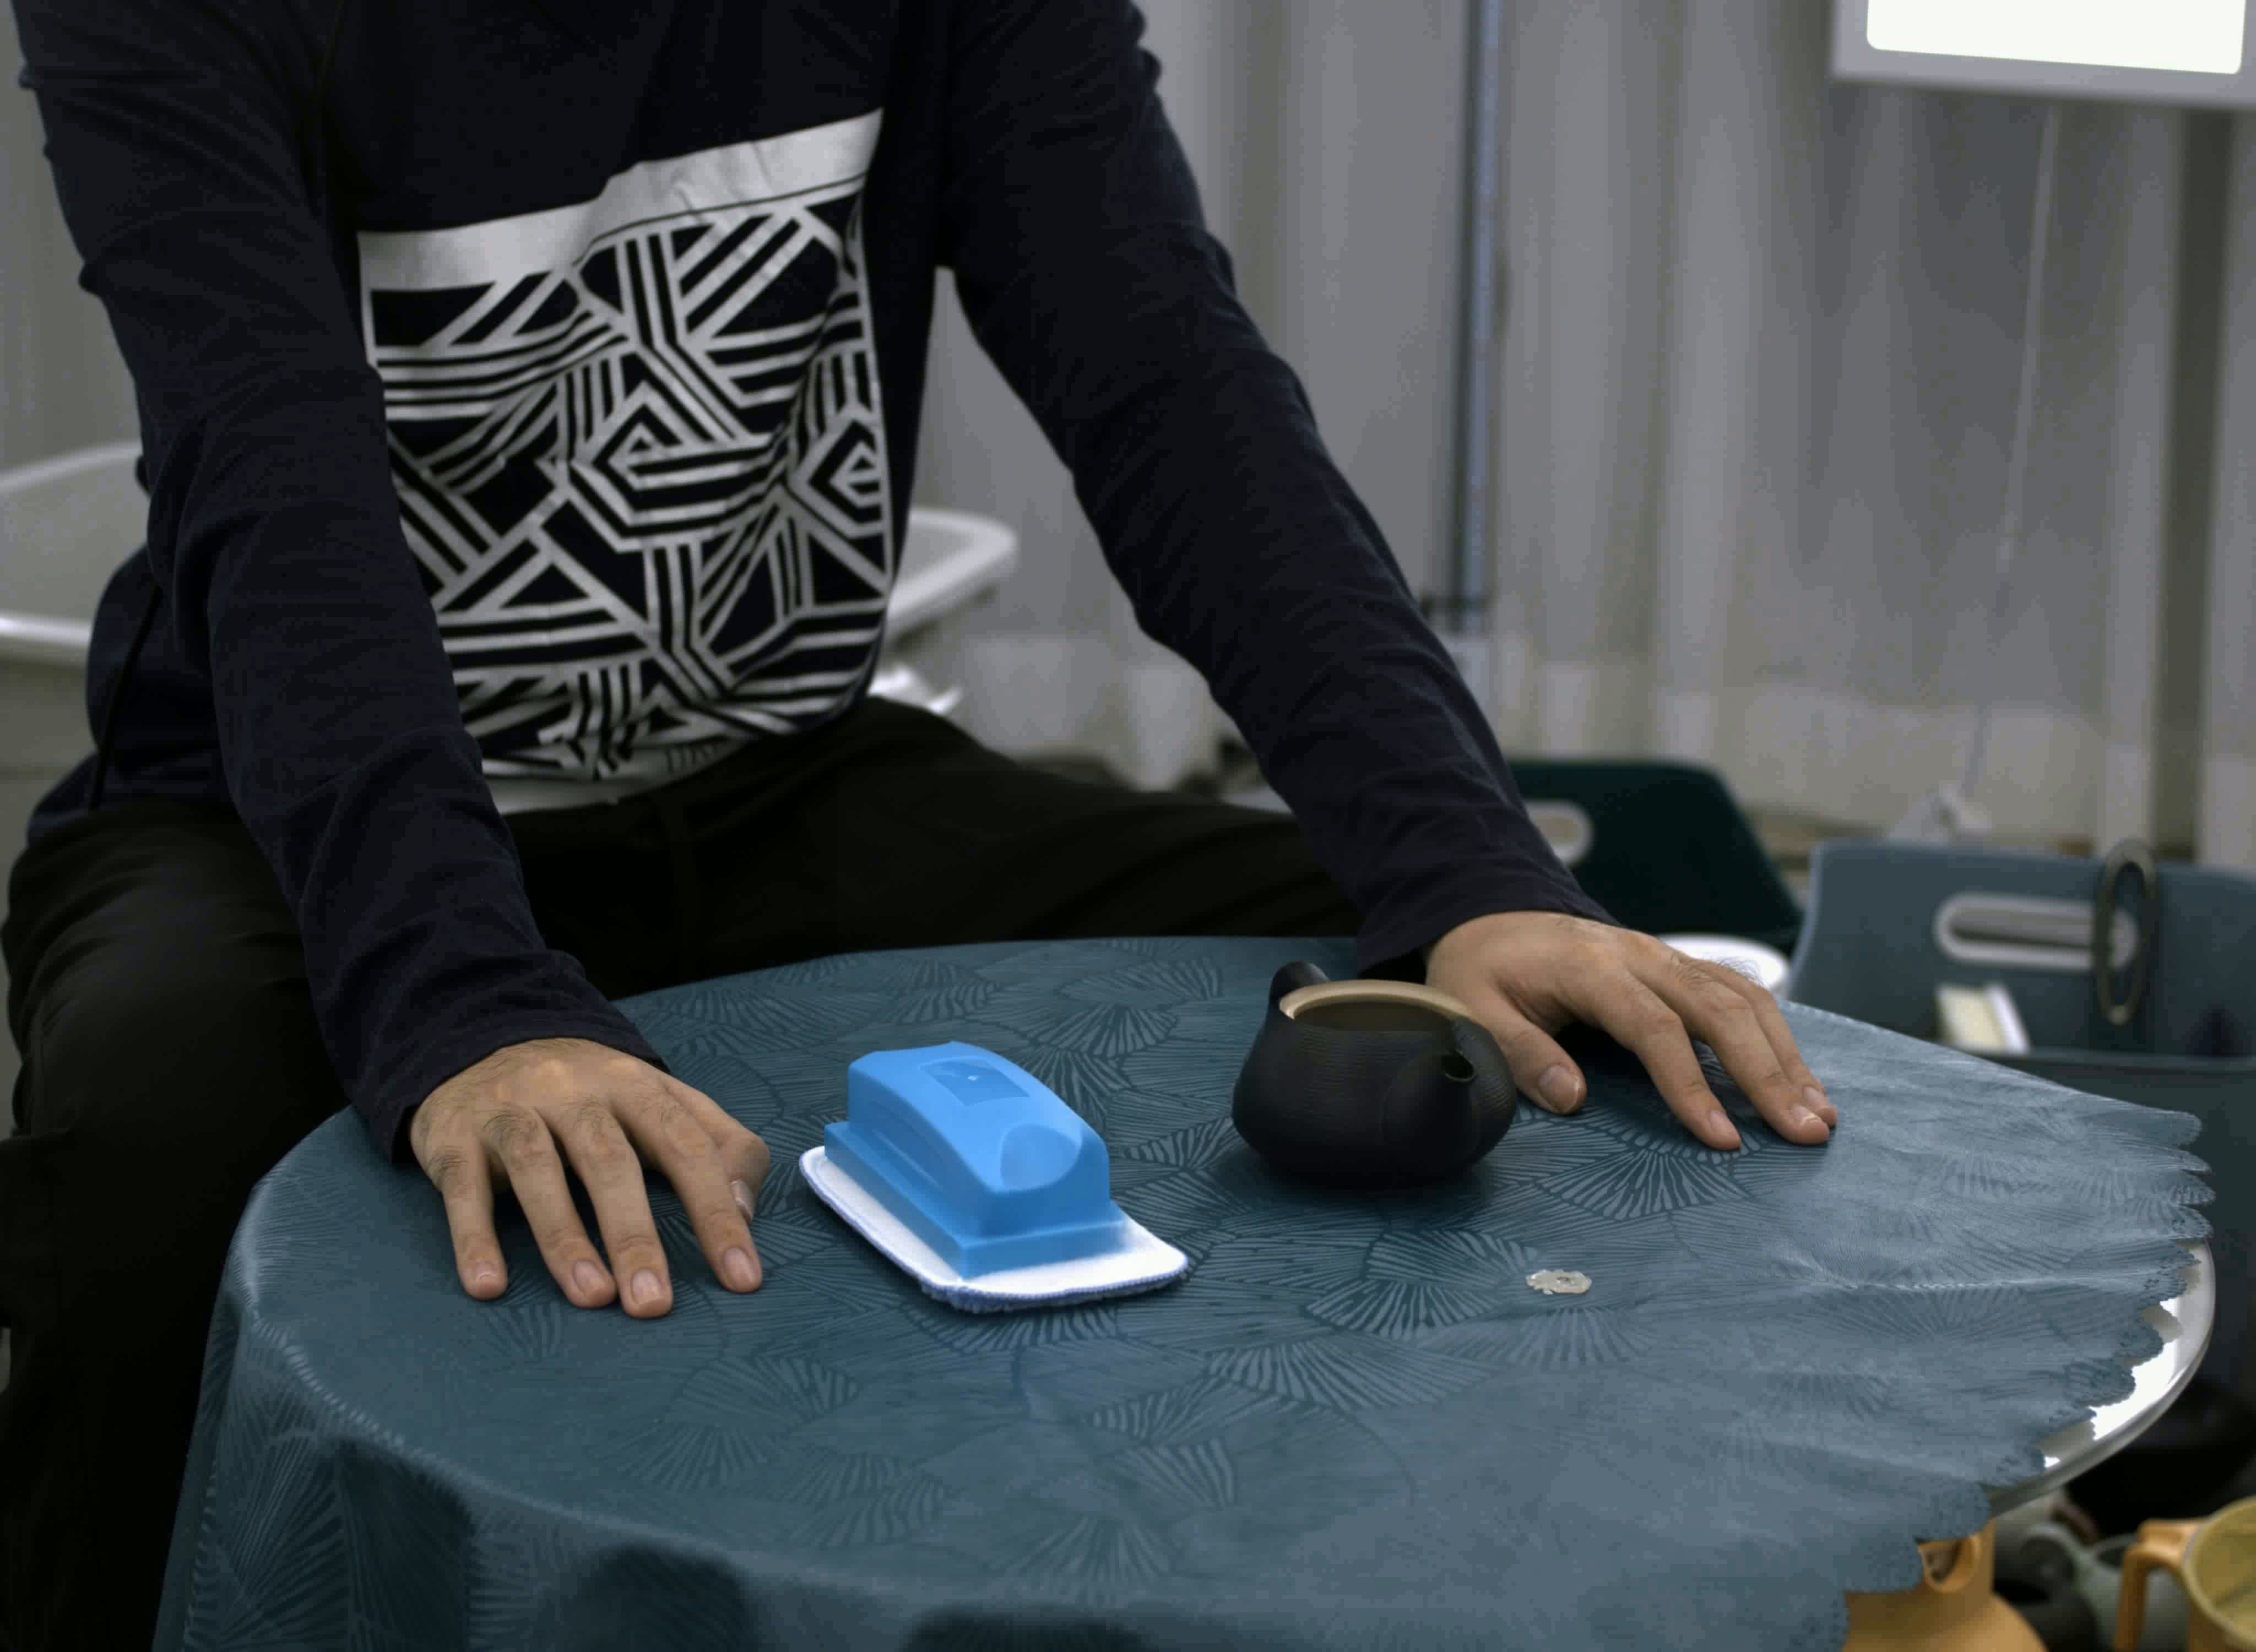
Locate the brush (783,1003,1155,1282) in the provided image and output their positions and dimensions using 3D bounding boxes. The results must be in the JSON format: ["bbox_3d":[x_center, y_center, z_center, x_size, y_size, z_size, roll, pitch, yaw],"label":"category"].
[{"bbox_3d":[-0.047,0.092,1.580,0.084,0.056,0.142,-2,19,-22],"label":"brush"}]

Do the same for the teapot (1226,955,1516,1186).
[{"bbox_3d":[0.076,0.079,1.644,0.091,0.053,0.131,-5,17,-23],"label":"teapot"}]
